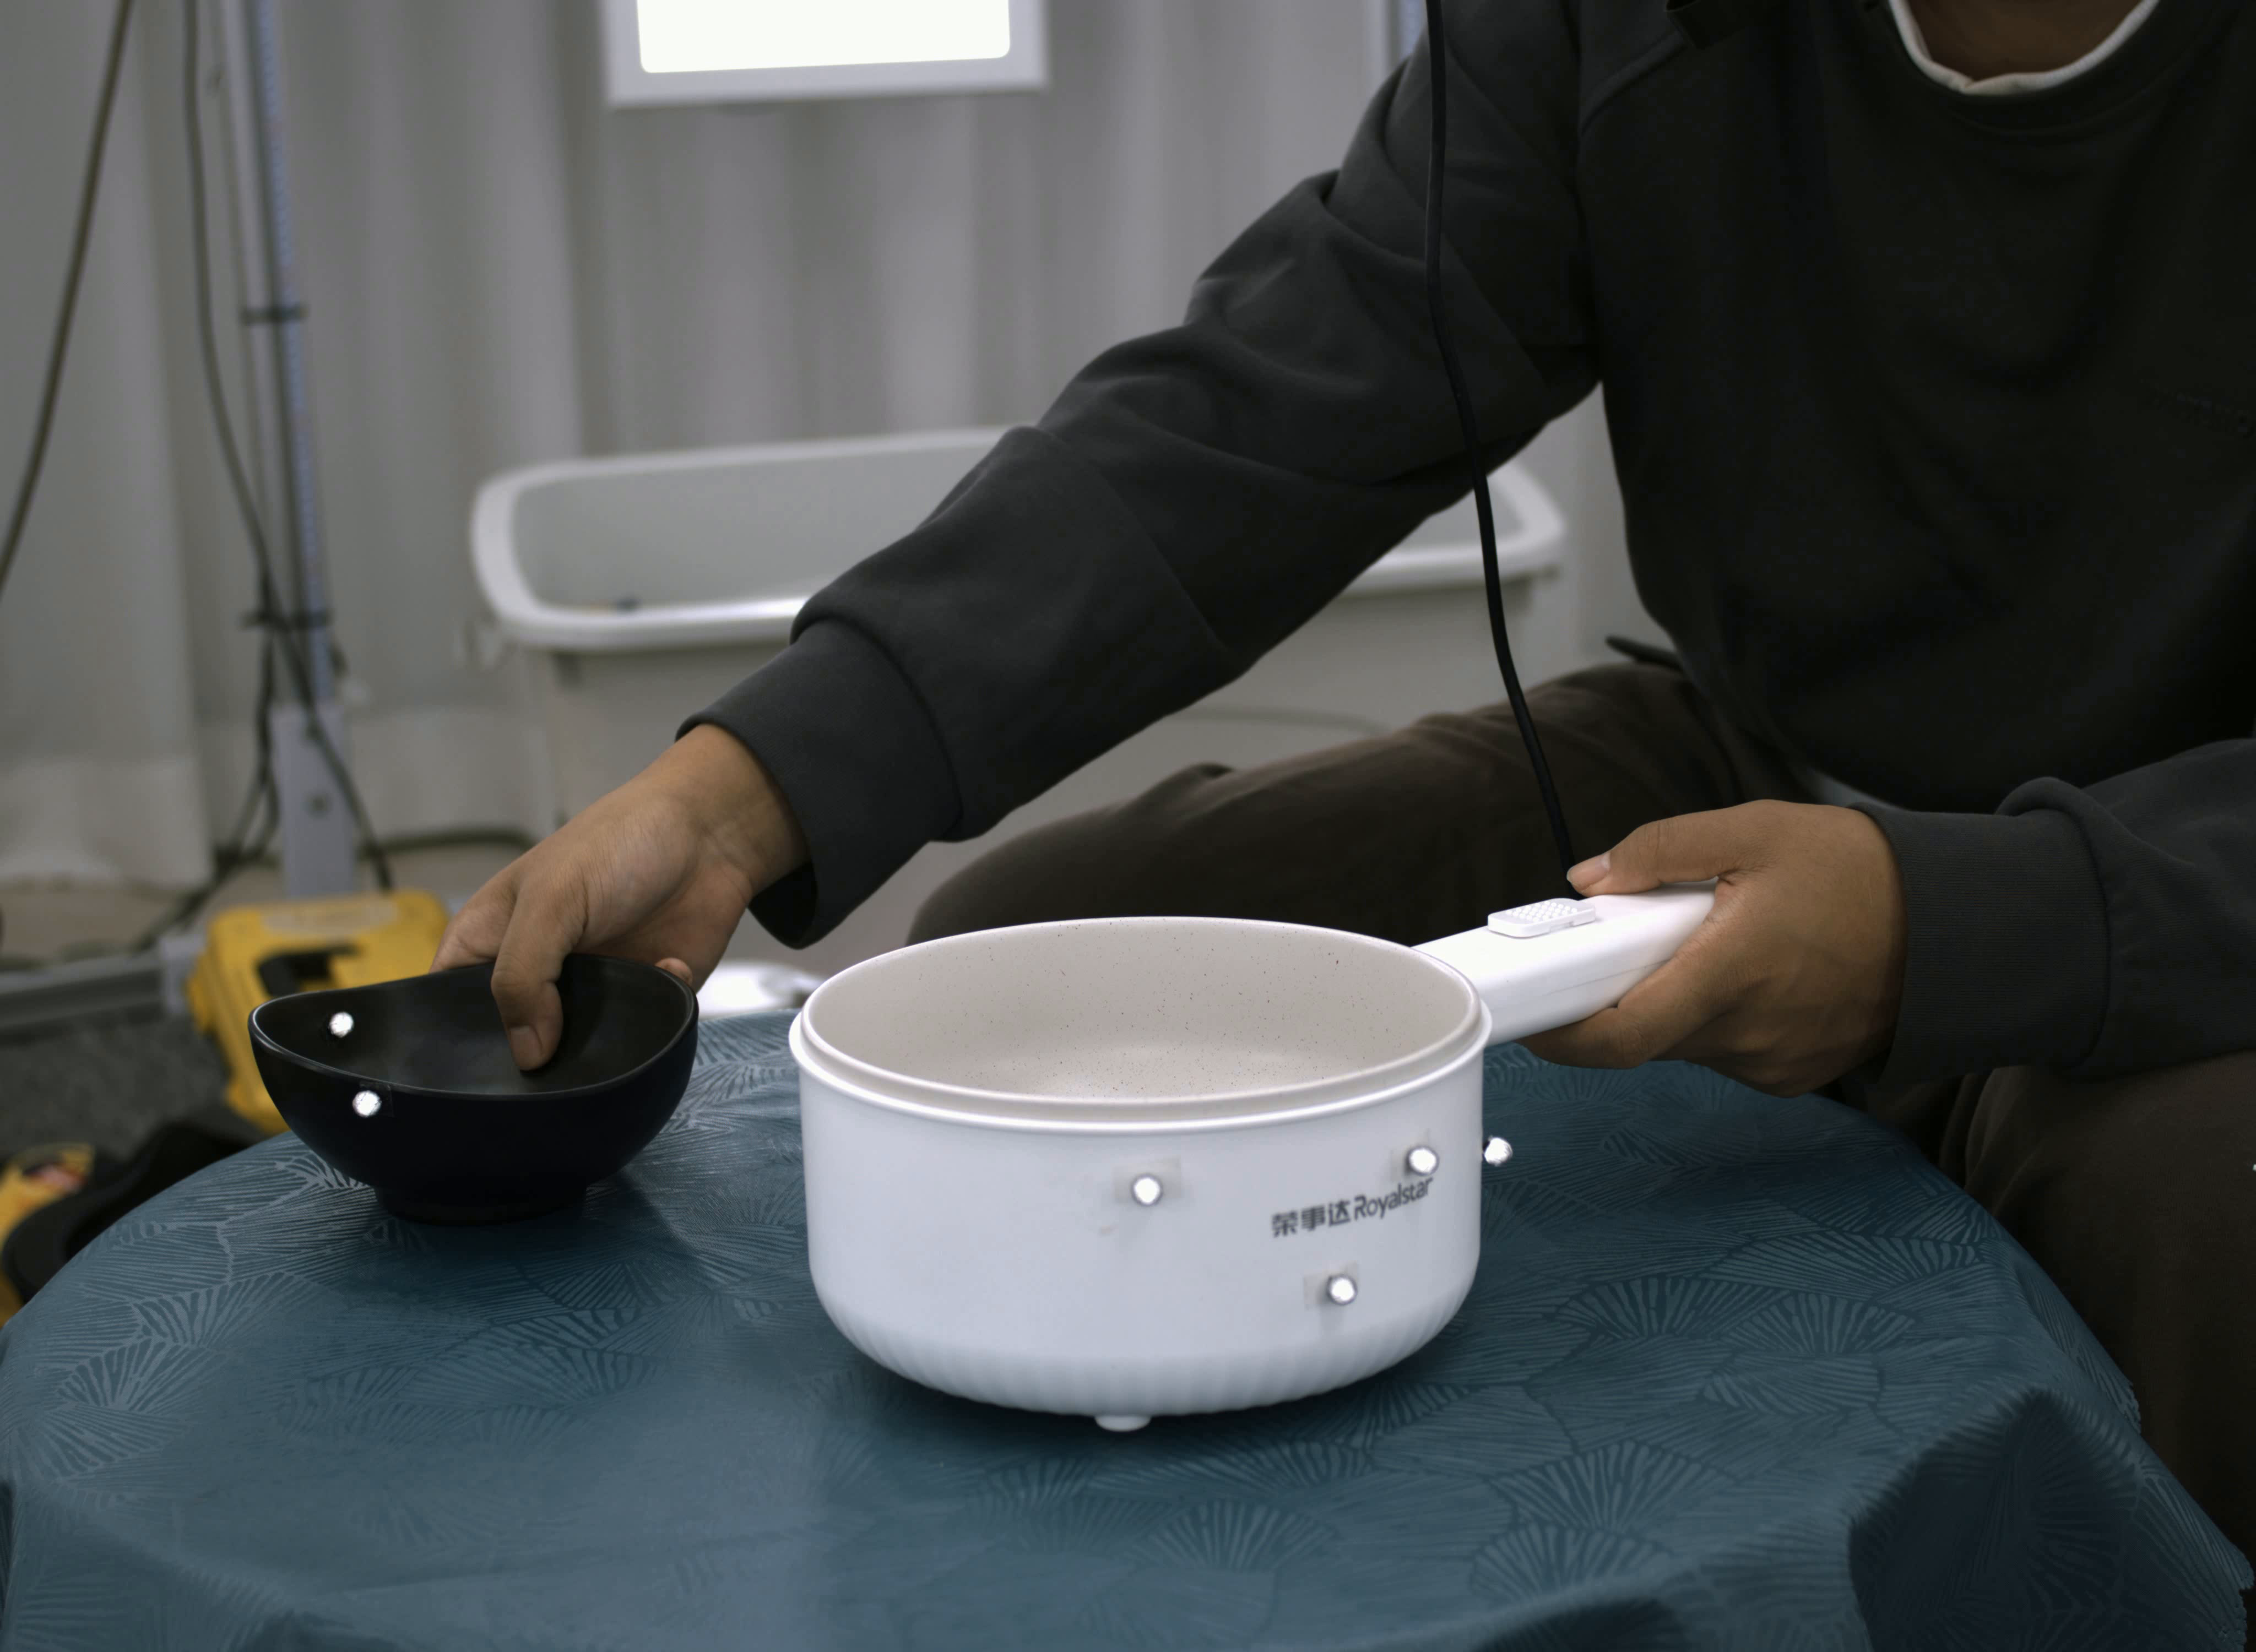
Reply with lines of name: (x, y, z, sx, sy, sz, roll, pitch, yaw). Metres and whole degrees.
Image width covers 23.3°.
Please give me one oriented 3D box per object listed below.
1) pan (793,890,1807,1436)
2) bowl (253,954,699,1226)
pan: (0.064, 0.092, 1.621, 0.353, 0.102, 0.202, -10, 14, -39)
bowl: (-0.206, 0.087, 1.732, 0.137, 0.066, 0.171, -10, 15, -26)
